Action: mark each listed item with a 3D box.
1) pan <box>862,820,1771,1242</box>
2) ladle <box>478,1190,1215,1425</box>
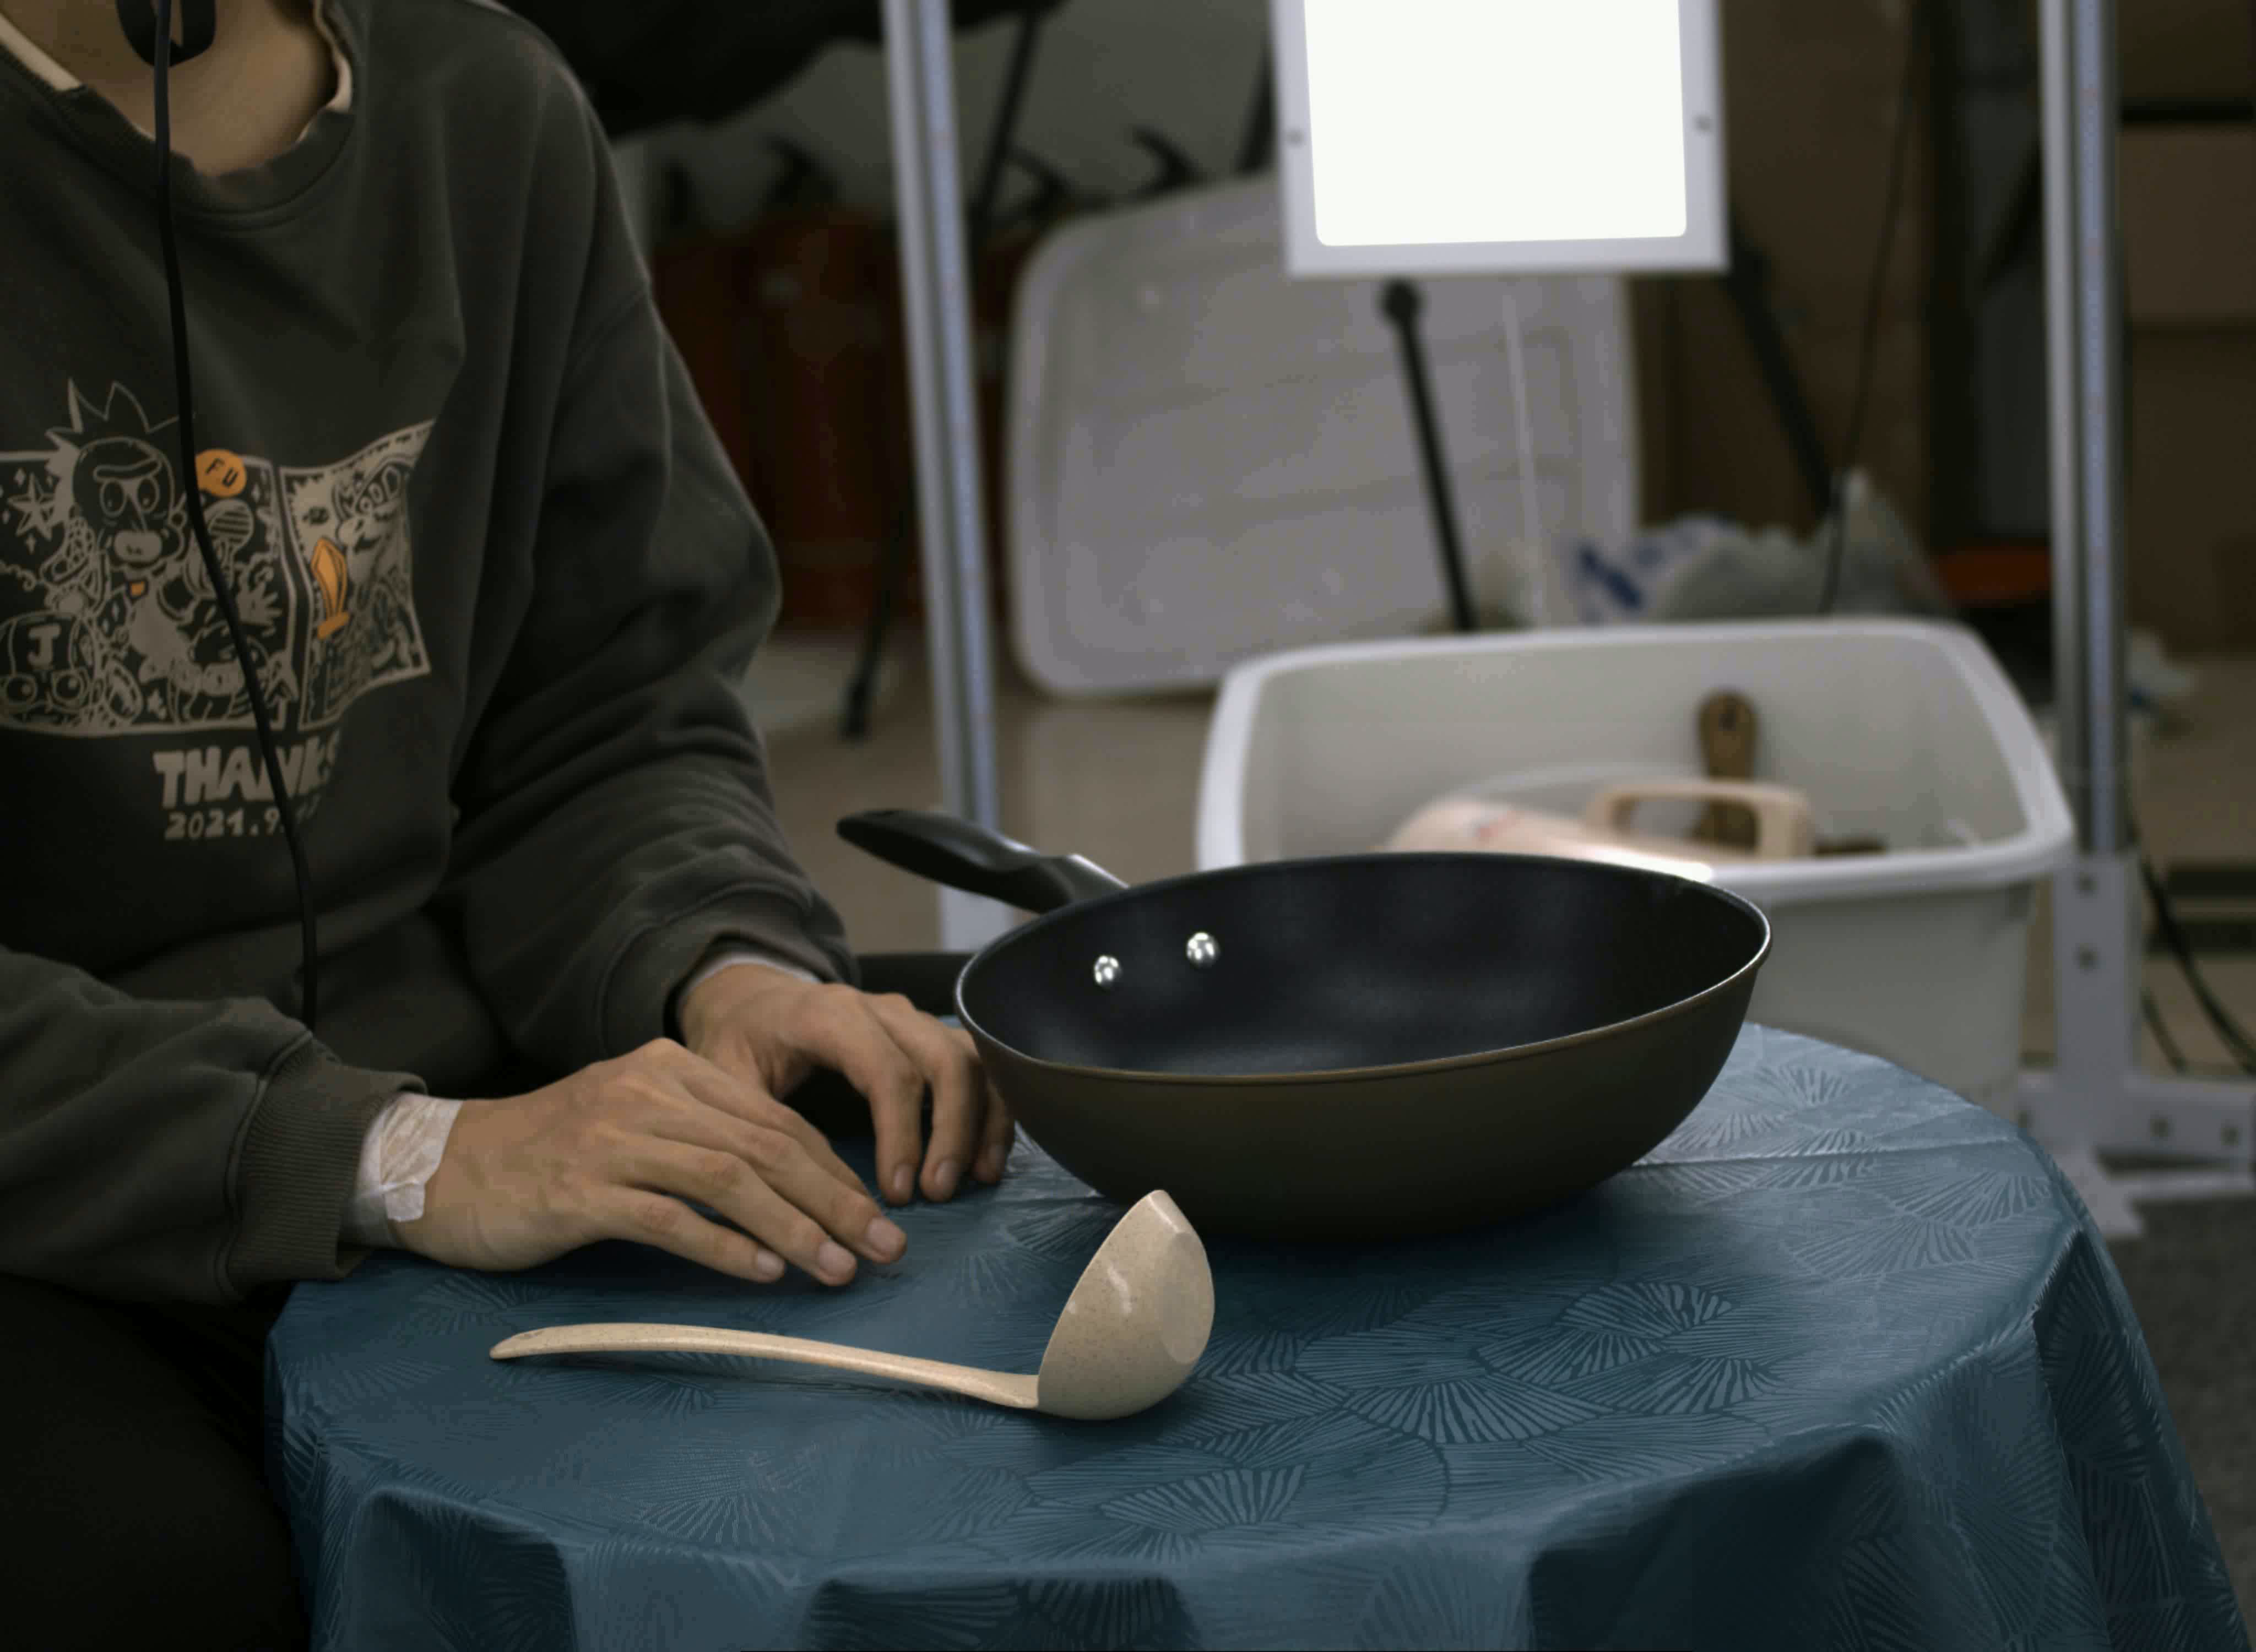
[{"bbox_3d":[0.030,0.067,1.953,0.281,0.087,0.472,-14,15,-31],"label":"pan"},{"bbox_3d":[-0.095,0.141,1.718,0.258,0.073,0.070,3,19,26],"label":"ladle"}]
